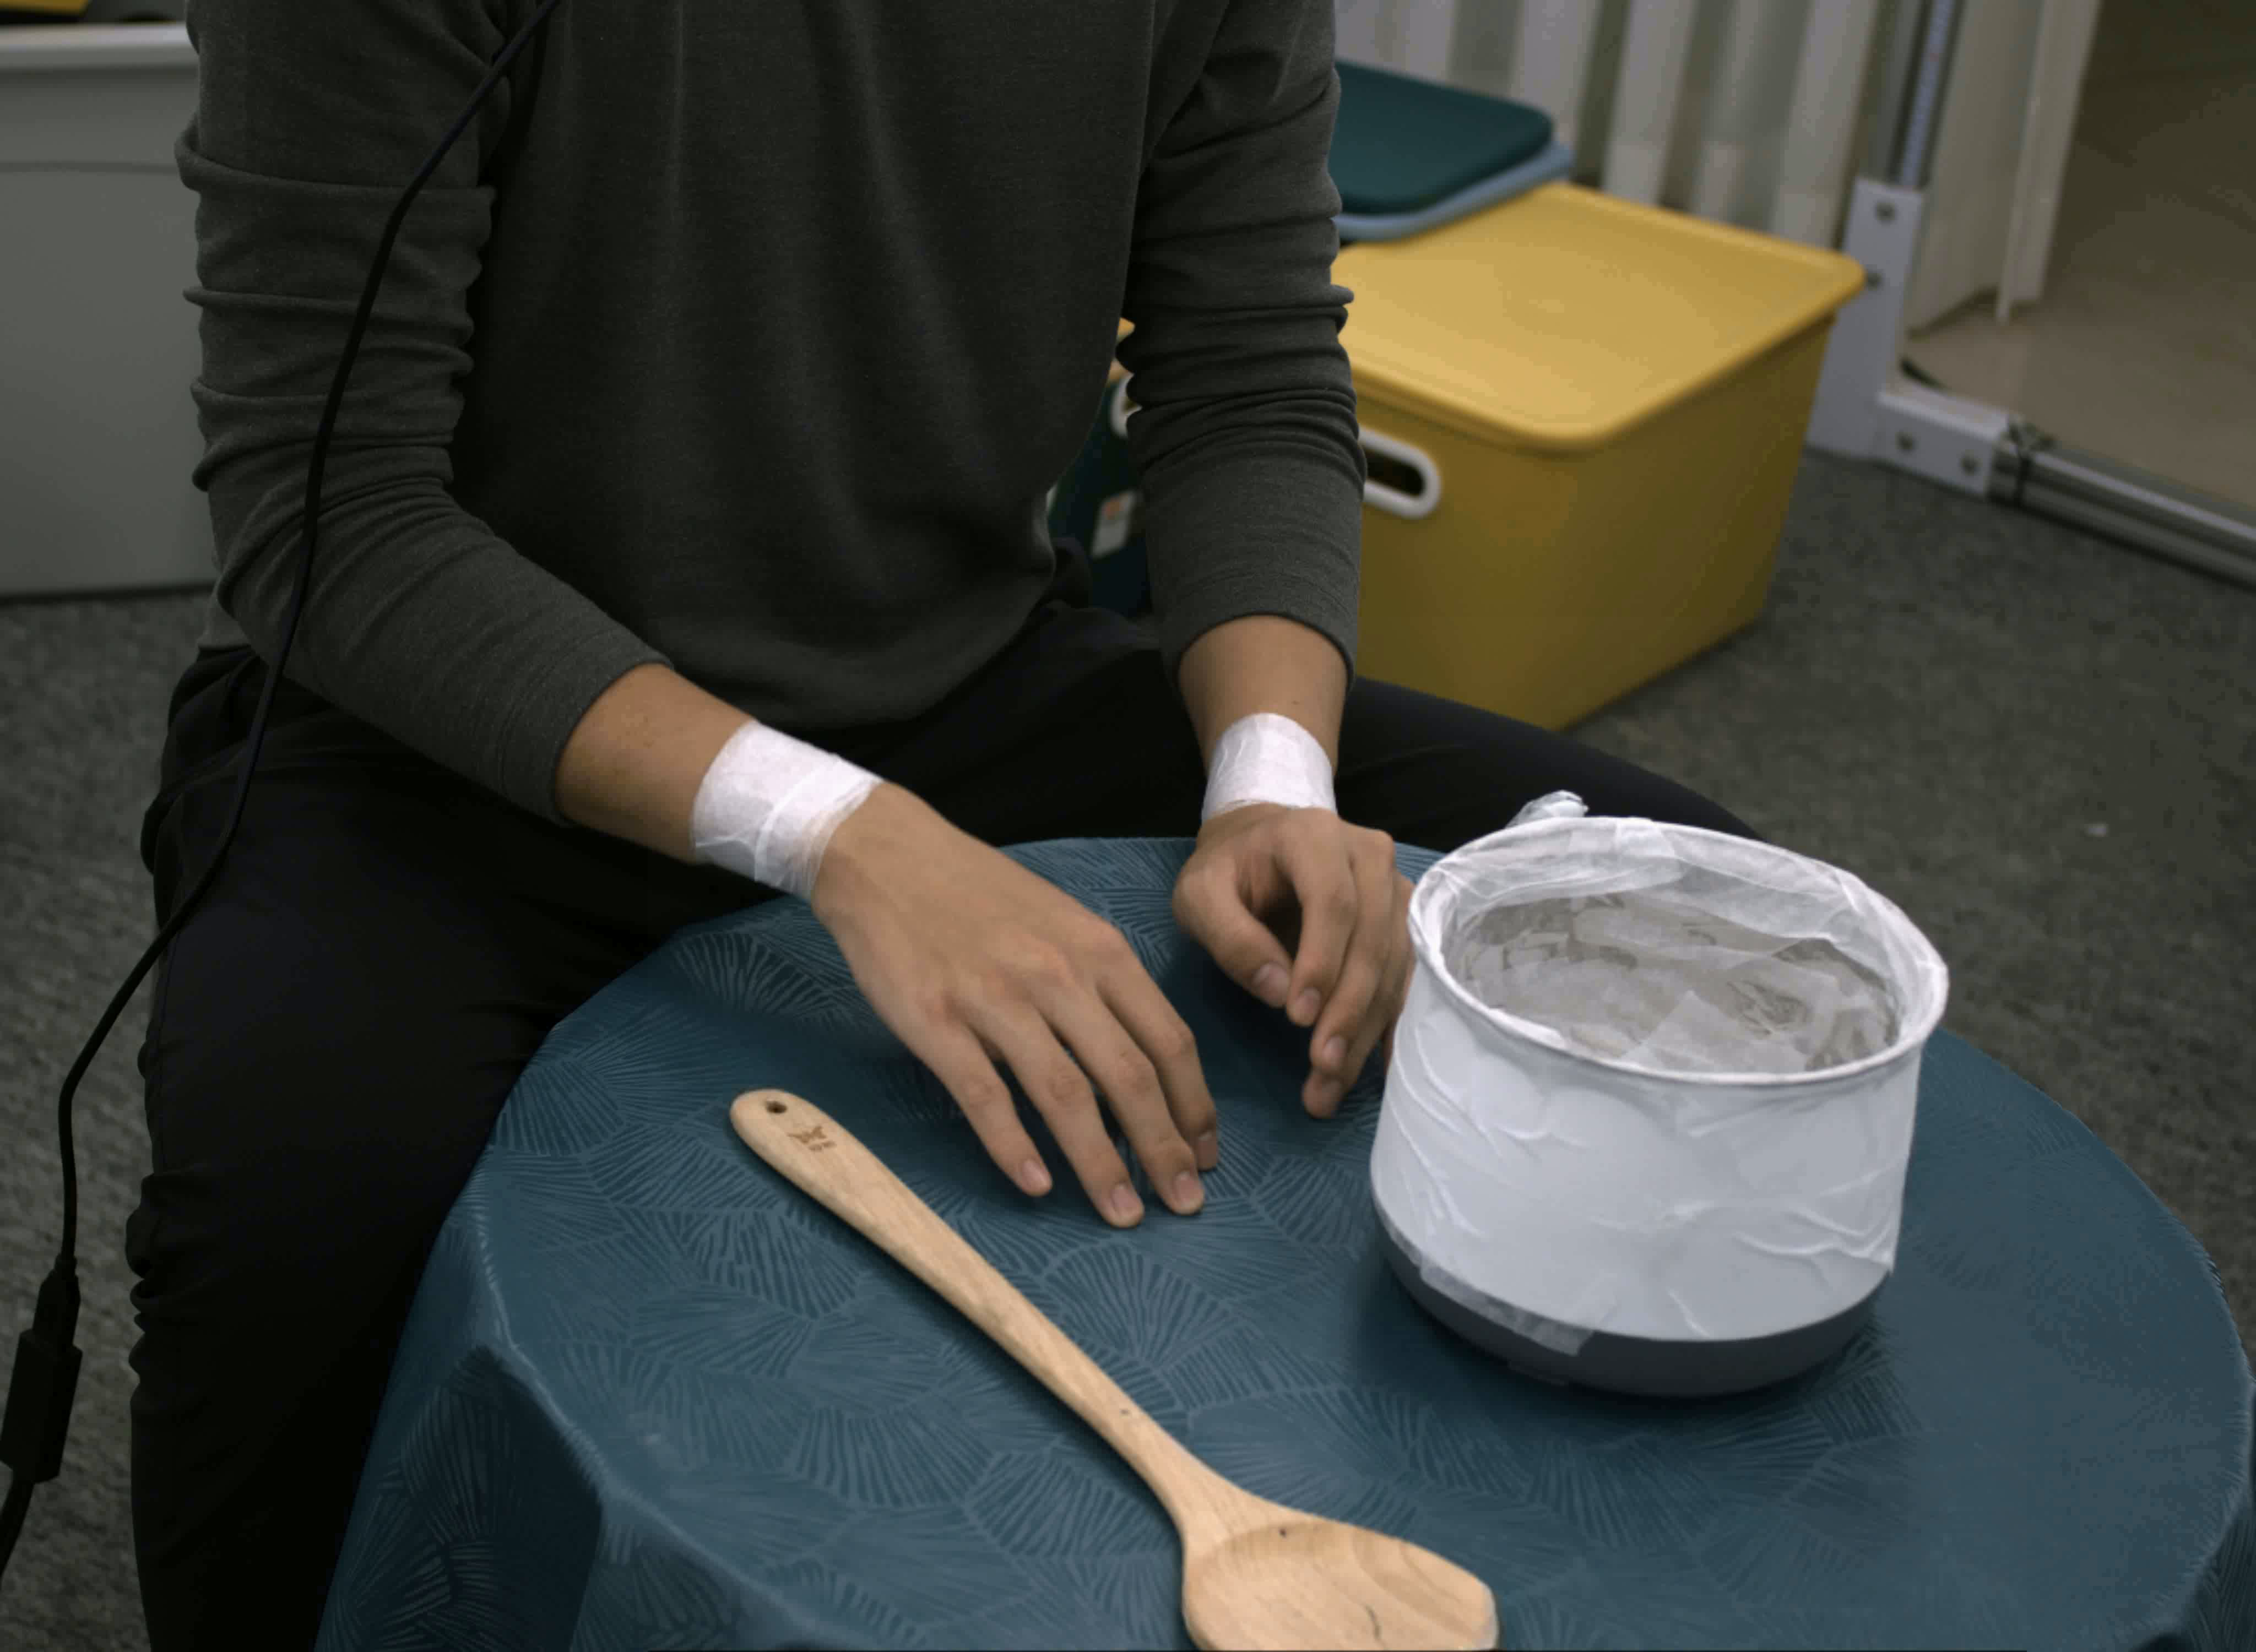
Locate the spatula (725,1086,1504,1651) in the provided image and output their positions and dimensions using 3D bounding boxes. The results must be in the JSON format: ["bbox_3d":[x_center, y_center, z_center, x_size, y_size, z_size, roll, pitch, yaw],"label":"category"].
[{"bbox_3d":[-0.026,0.173,1.683,0.095,0.018,0.394,-10,32,-34],"label":"spatula"}]

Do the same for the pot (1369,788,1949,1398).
[{"bbox_3d":[0.162,0.081,1.775,0.177,0.136,0.236,-3,28,-20],"label":"pot"}]
